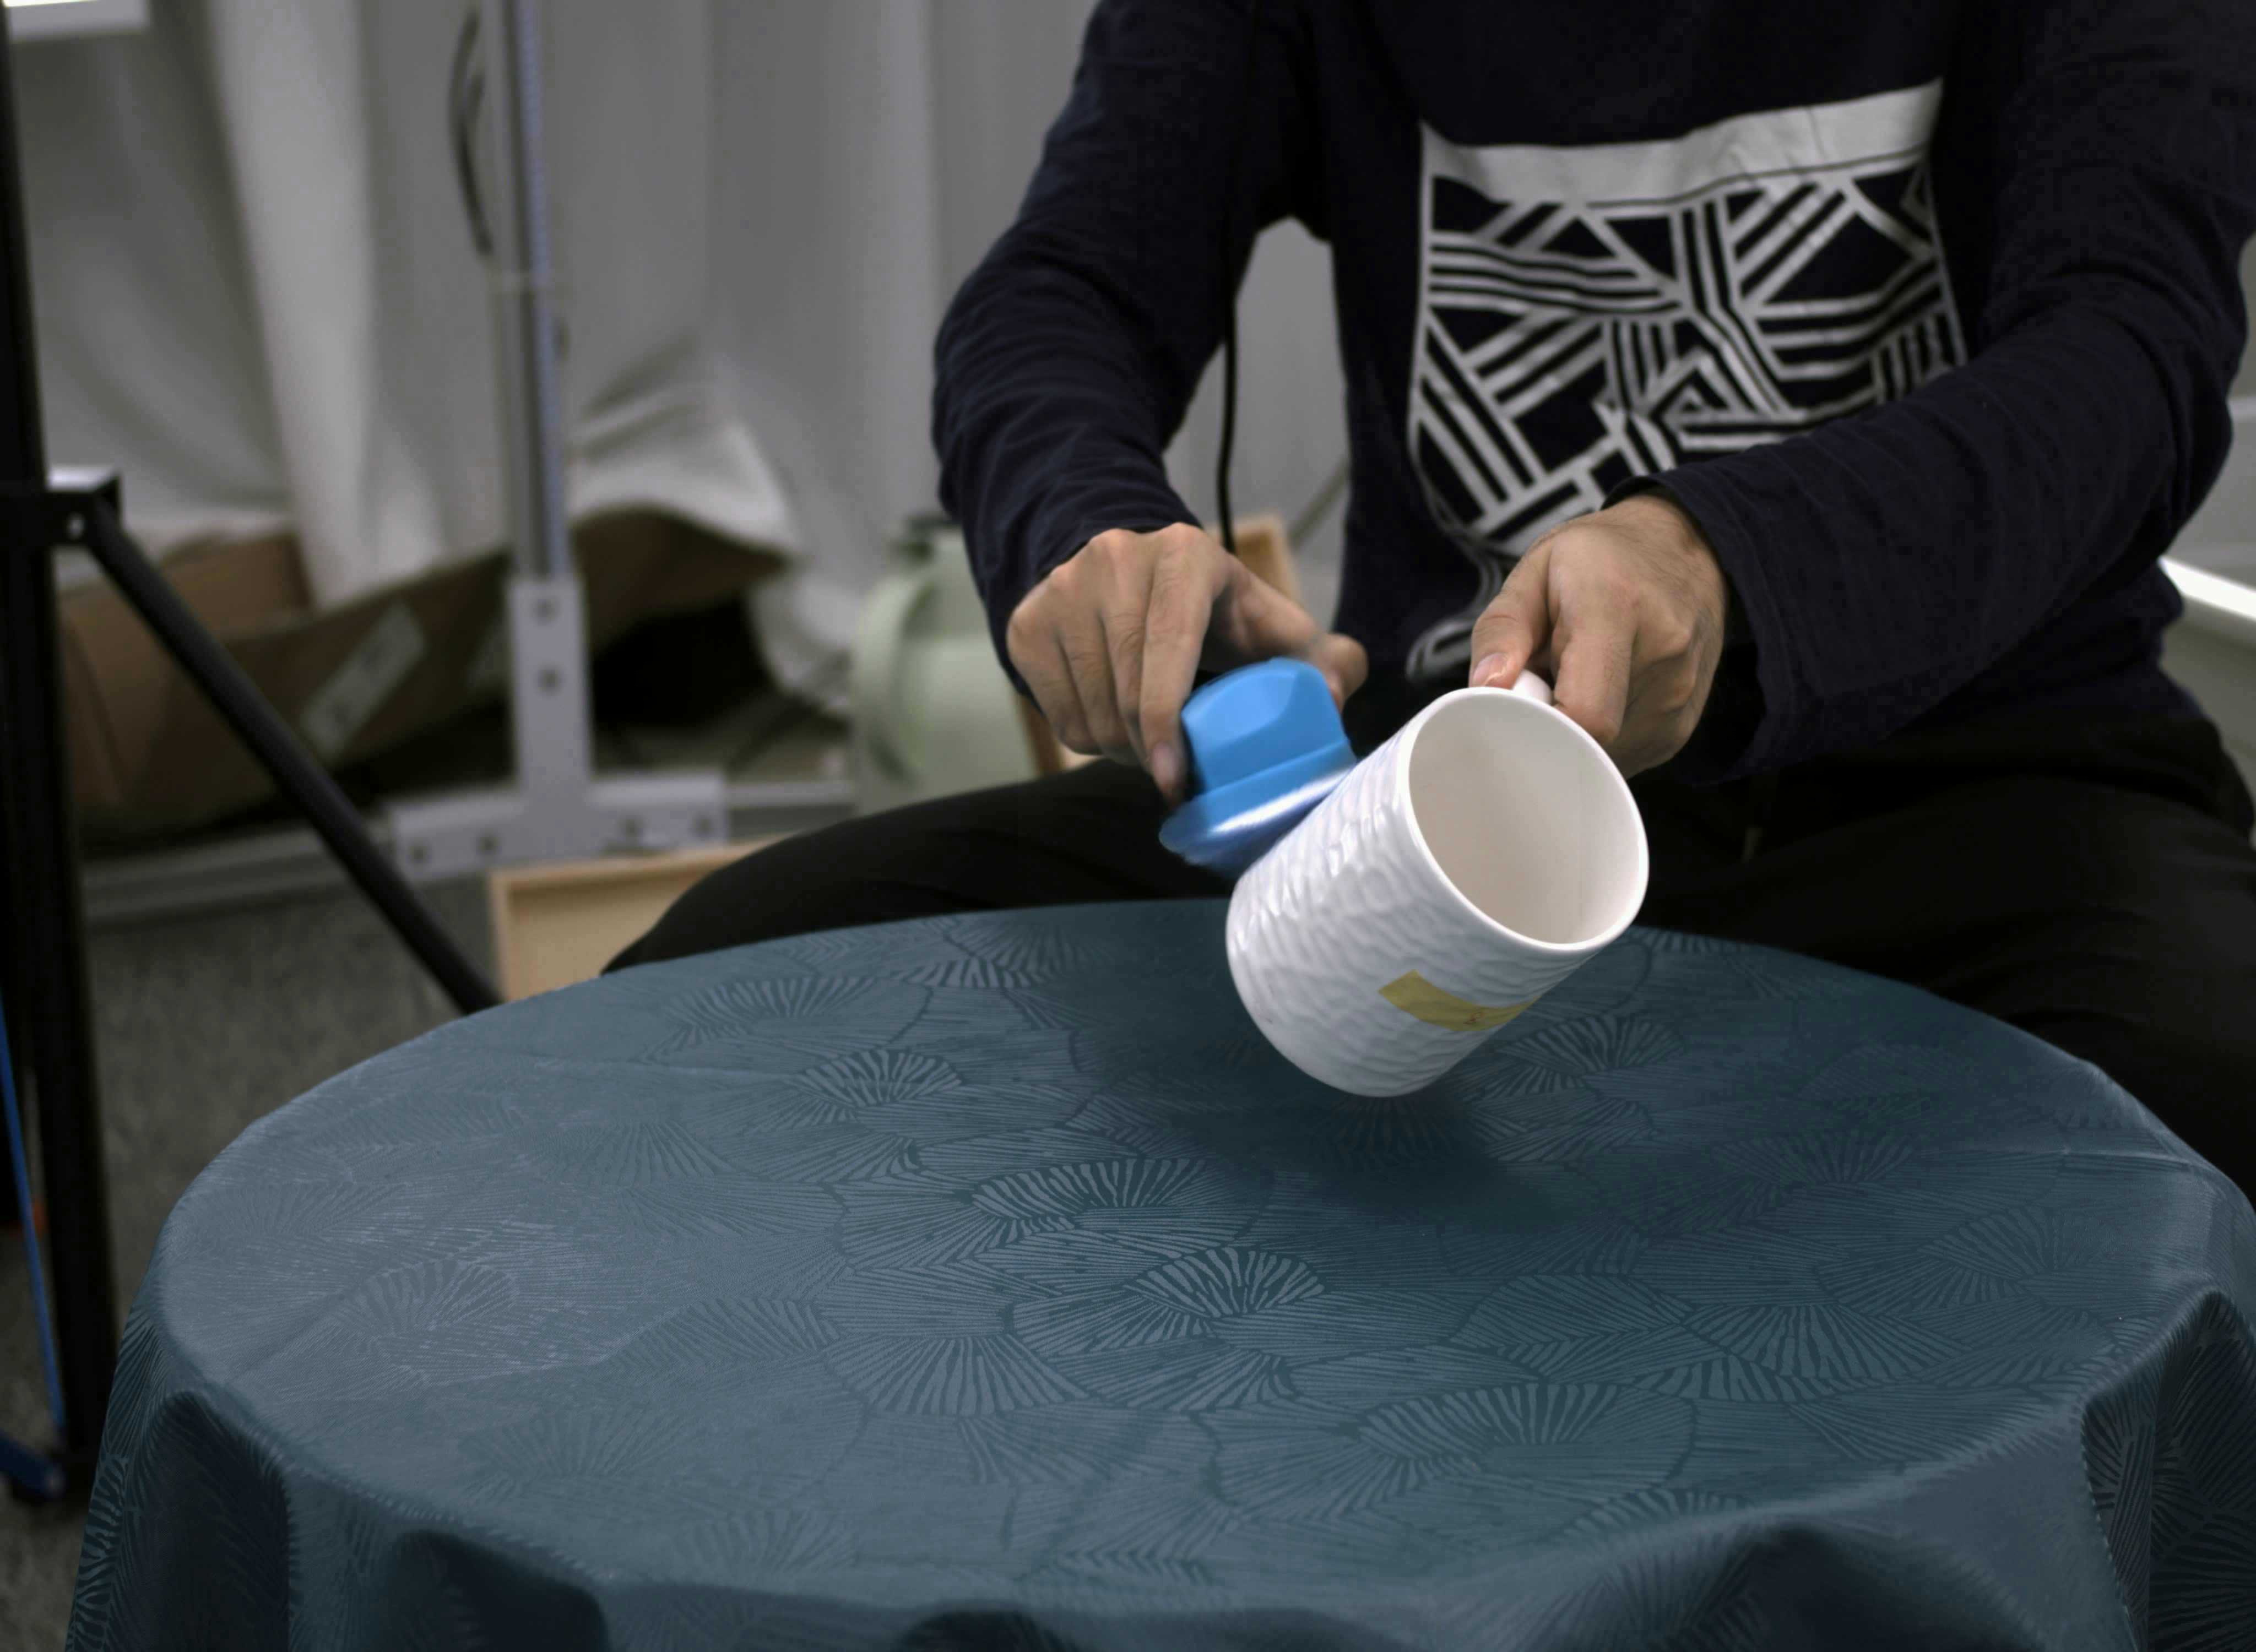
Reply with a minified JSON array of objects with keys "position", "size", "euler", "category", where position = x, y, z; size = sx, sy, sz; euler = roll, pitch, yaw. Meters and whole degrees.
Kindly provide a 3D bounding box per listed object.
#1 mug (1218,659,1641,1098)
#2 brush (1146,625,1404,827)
[{"position":[0.089,0.009,1.544],"size":[0.084,0.103,0.118],"euler":[29,49,-15],"category":"mug"},{"position":[0.042,-0.031,1.624],"size":[0.083,0.056,0.144],"euler":[-18,4,2],"category":"brush"}]
